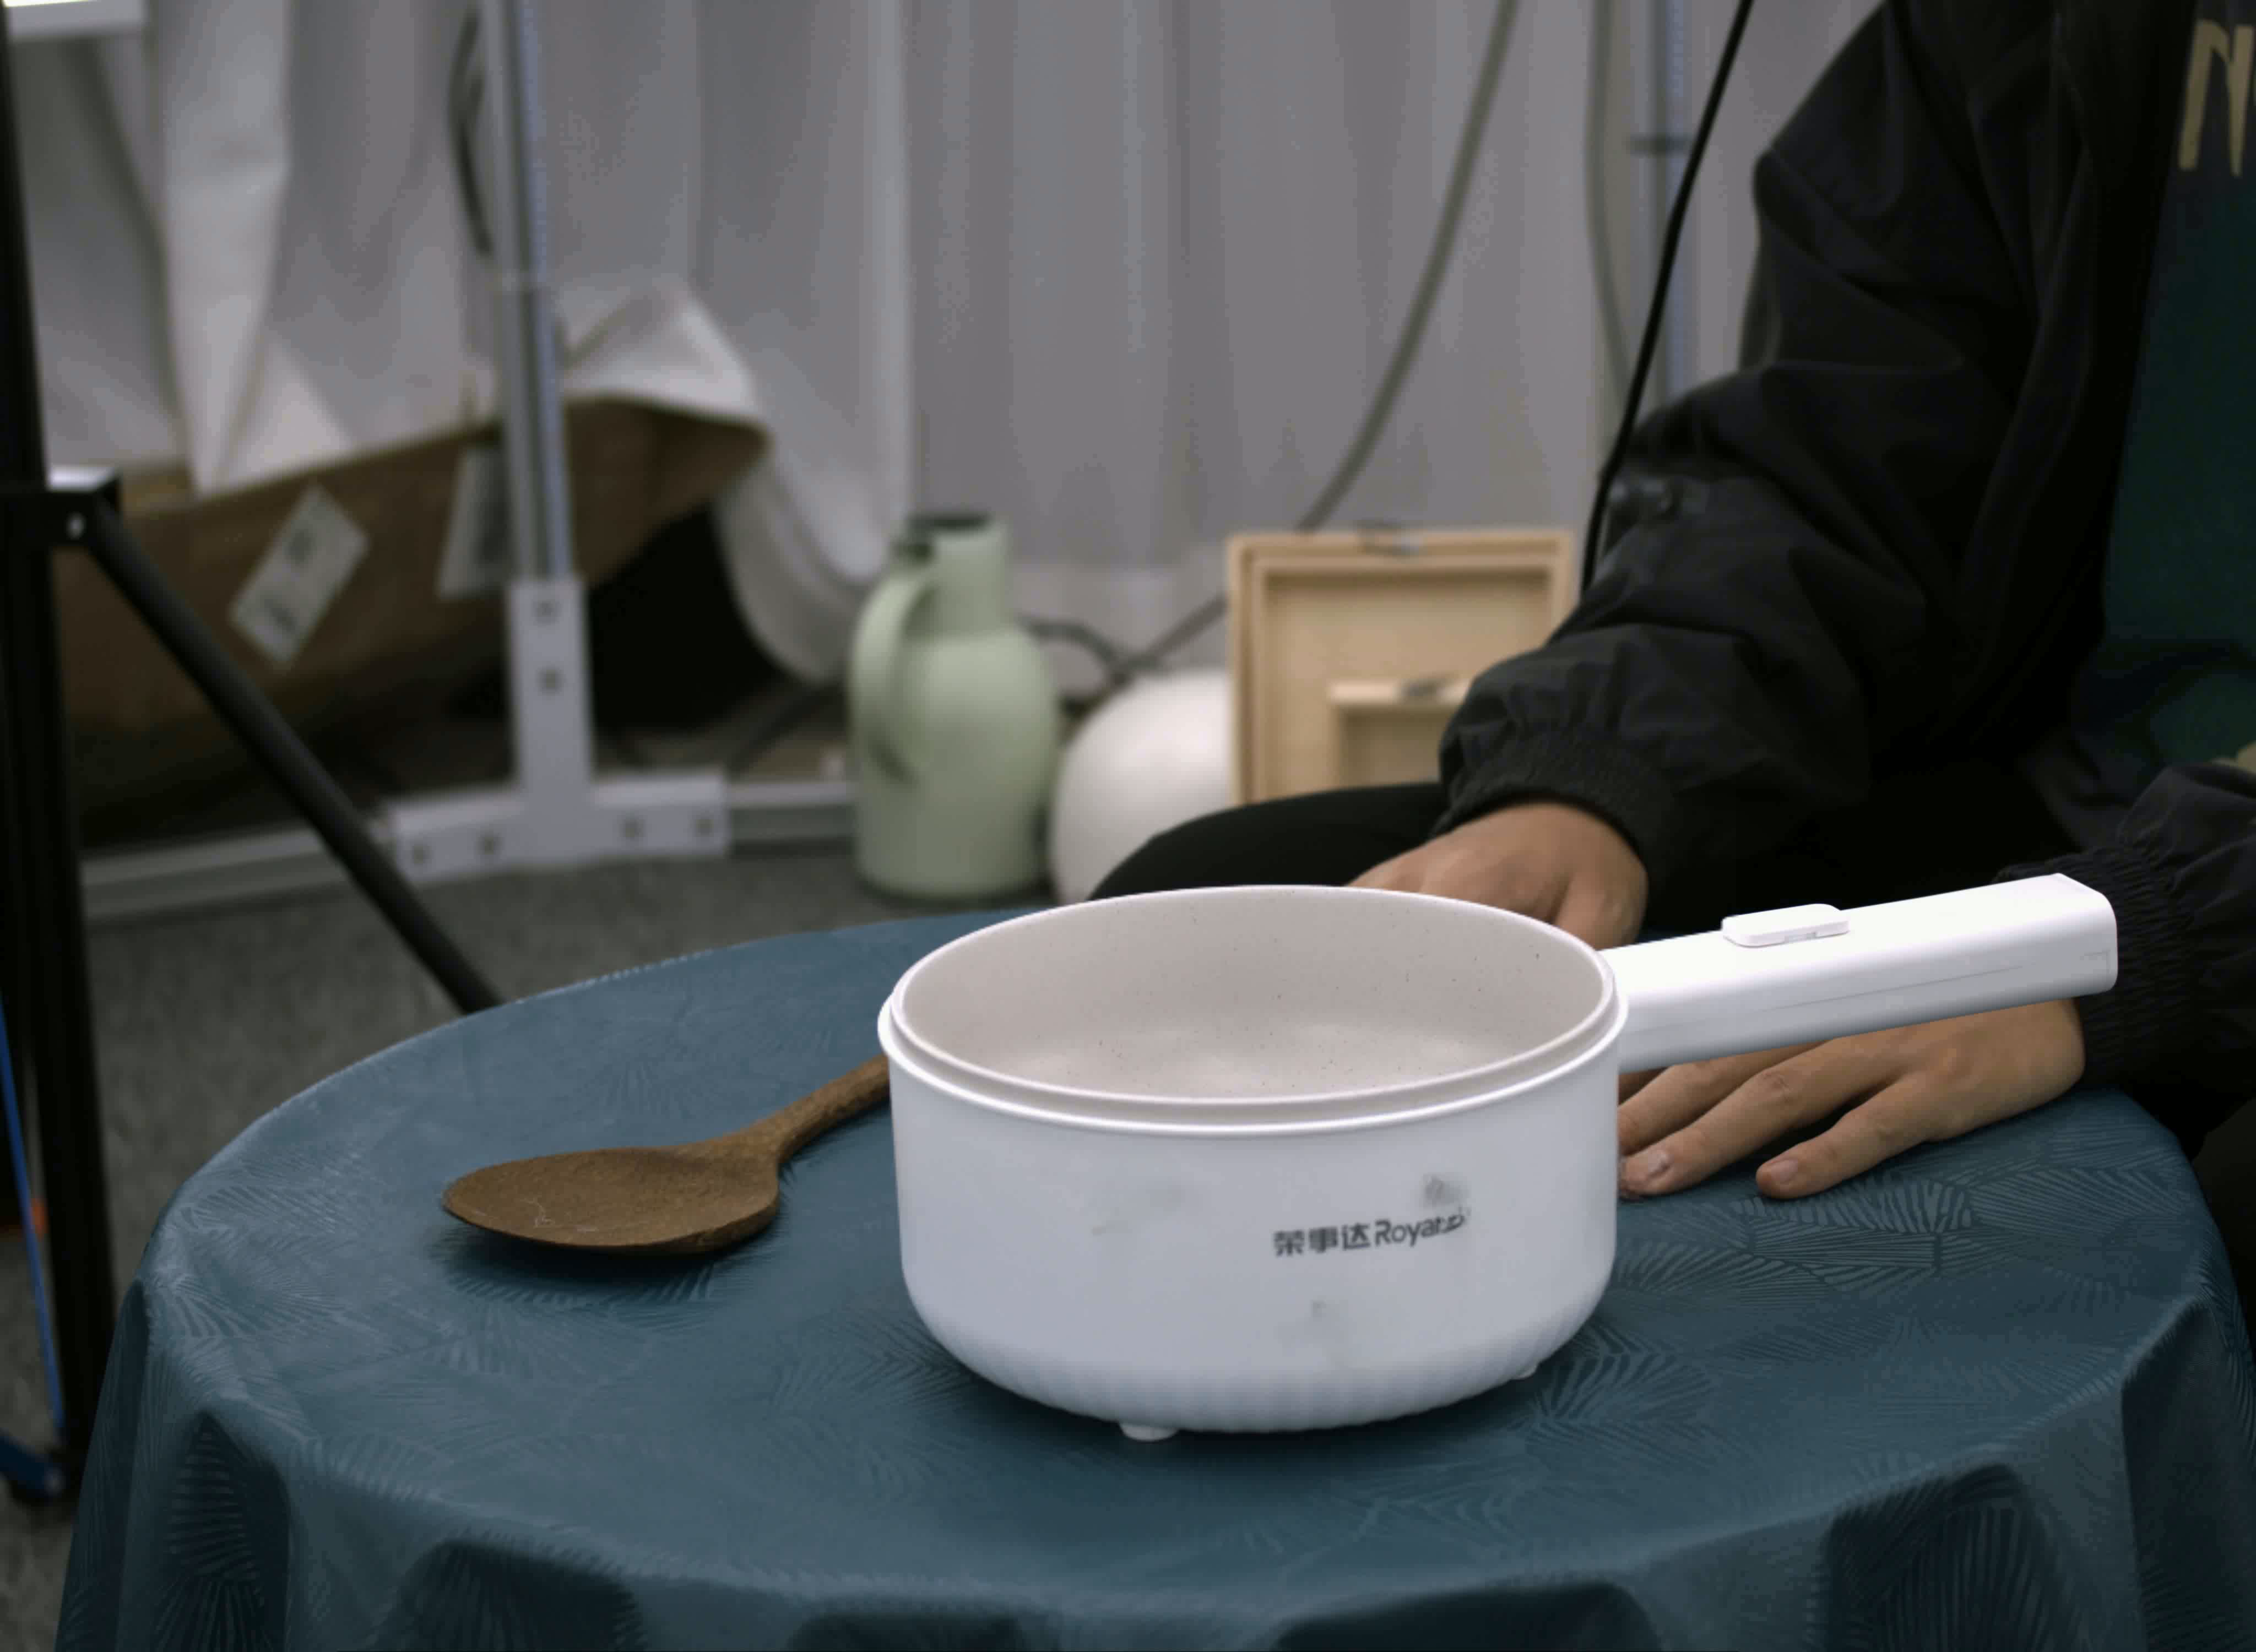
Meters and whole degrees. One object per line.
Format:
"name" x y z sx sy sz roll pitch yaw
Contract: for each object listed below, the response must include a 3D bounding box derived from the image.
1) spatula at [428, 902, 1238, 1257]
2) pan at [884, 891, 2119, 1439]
"spatula" -0.070 0.074 1.665 0.098 0.016 0.378 8 19 32
"pan" 0.107 0.085 1.451 0.348 0.102 0.204 -6 15 -18
